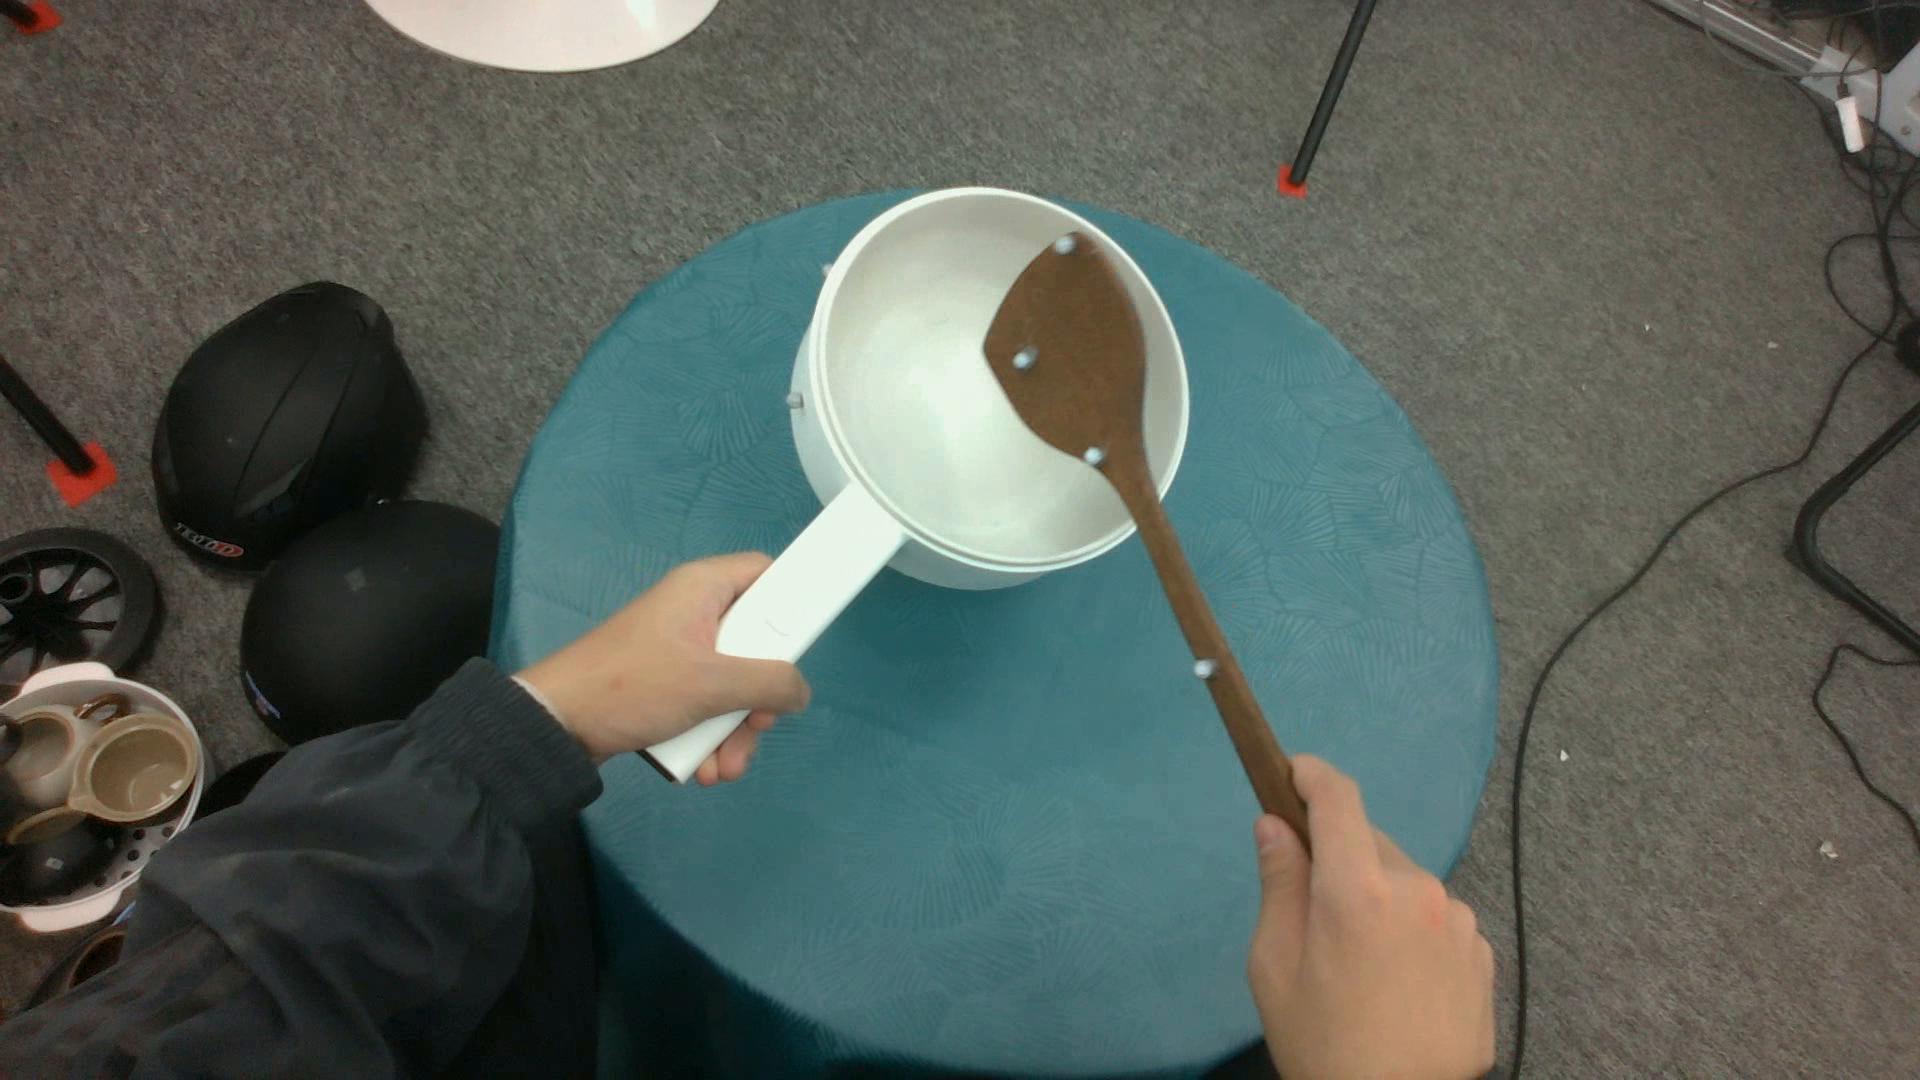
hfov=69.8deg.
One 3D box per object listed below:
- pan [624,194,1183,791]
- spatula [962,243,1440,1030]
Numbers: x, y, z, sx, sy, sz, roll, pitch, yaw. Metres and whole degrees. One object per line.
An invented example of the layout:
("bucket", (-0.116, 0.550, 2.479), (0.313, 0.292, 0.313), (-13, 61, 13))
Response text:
("pan", (-0.037, -0.018, 0.712), (0.201, 0.102, 0.356), (42, 70, -5))
("spatula", (0.101, 0.034, 0.612), (0.016, 0.095, 0.386), (-10, 64, -37))
